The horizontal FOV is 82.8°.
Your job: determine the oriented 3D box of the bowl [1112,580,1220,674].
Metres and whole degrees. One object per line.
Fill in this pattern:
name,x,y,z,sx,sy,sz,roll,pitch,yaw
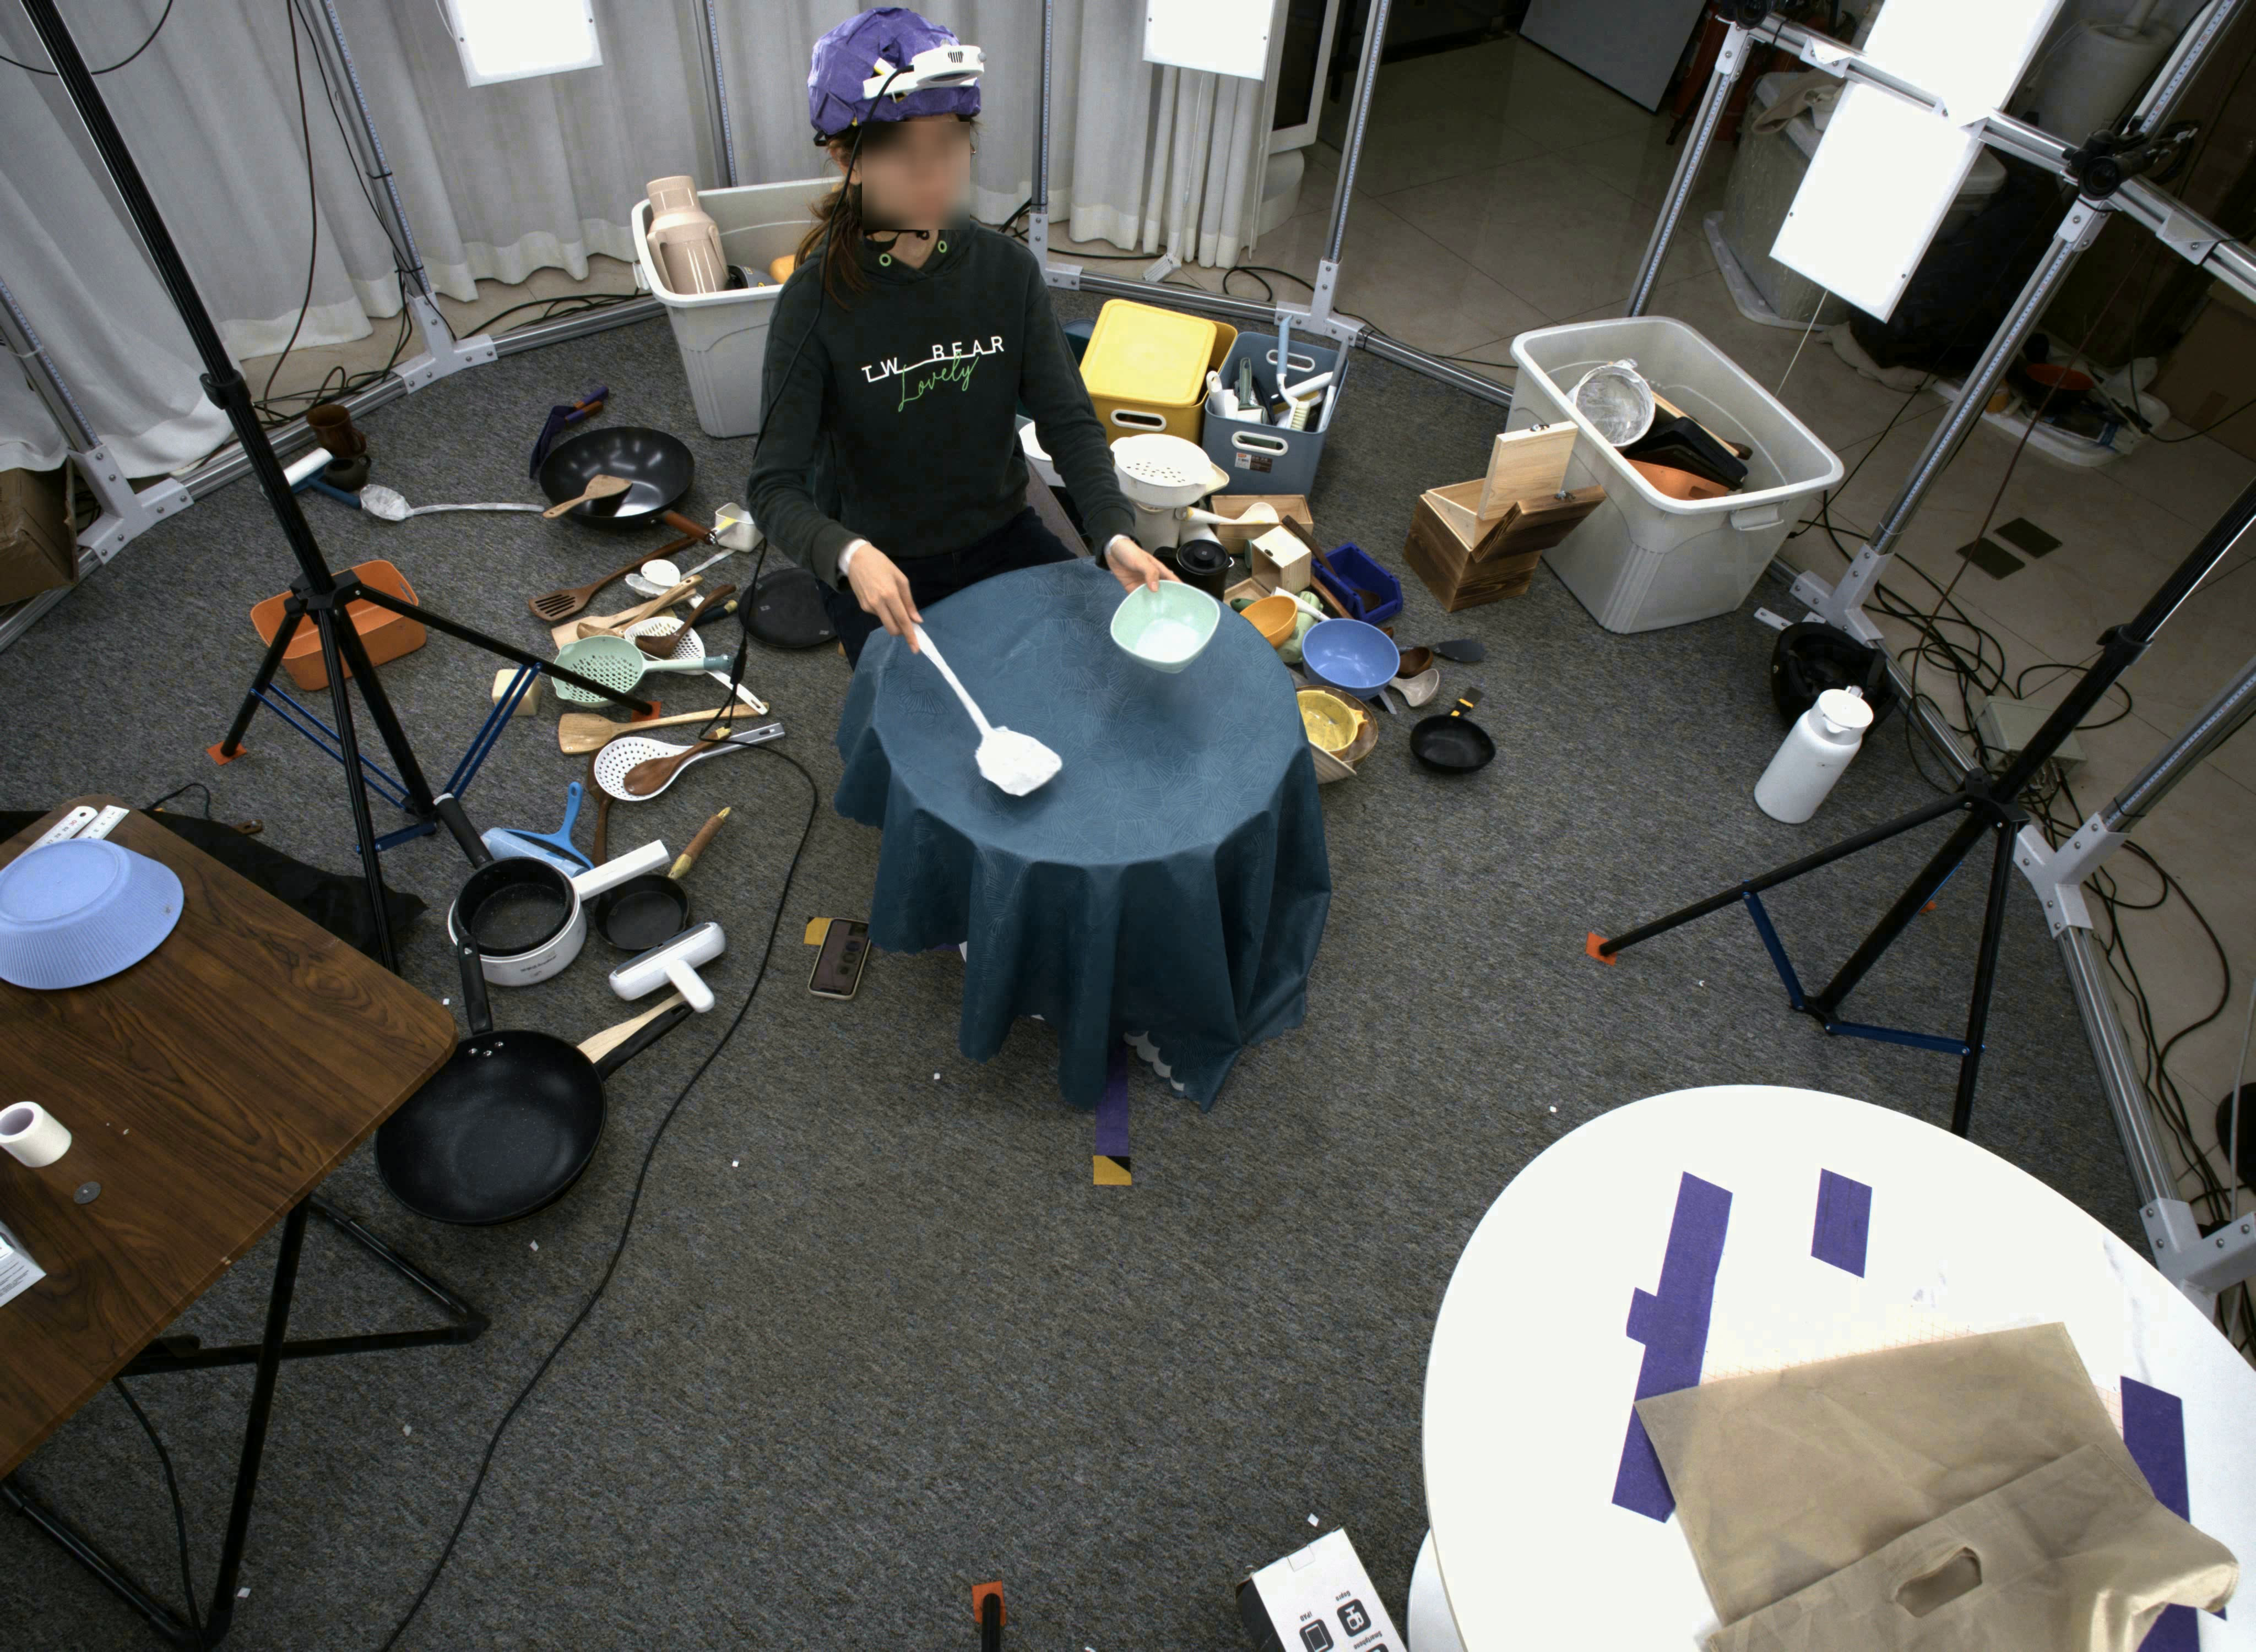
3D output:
bowl,0.054,-0.266,1.781,0.151,0.057,0.155,-3,57,4

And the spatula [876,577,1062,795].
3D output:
spatula,-0.227,-0.193,1.710,0.099,0.044,0.366,-33,84,-31
